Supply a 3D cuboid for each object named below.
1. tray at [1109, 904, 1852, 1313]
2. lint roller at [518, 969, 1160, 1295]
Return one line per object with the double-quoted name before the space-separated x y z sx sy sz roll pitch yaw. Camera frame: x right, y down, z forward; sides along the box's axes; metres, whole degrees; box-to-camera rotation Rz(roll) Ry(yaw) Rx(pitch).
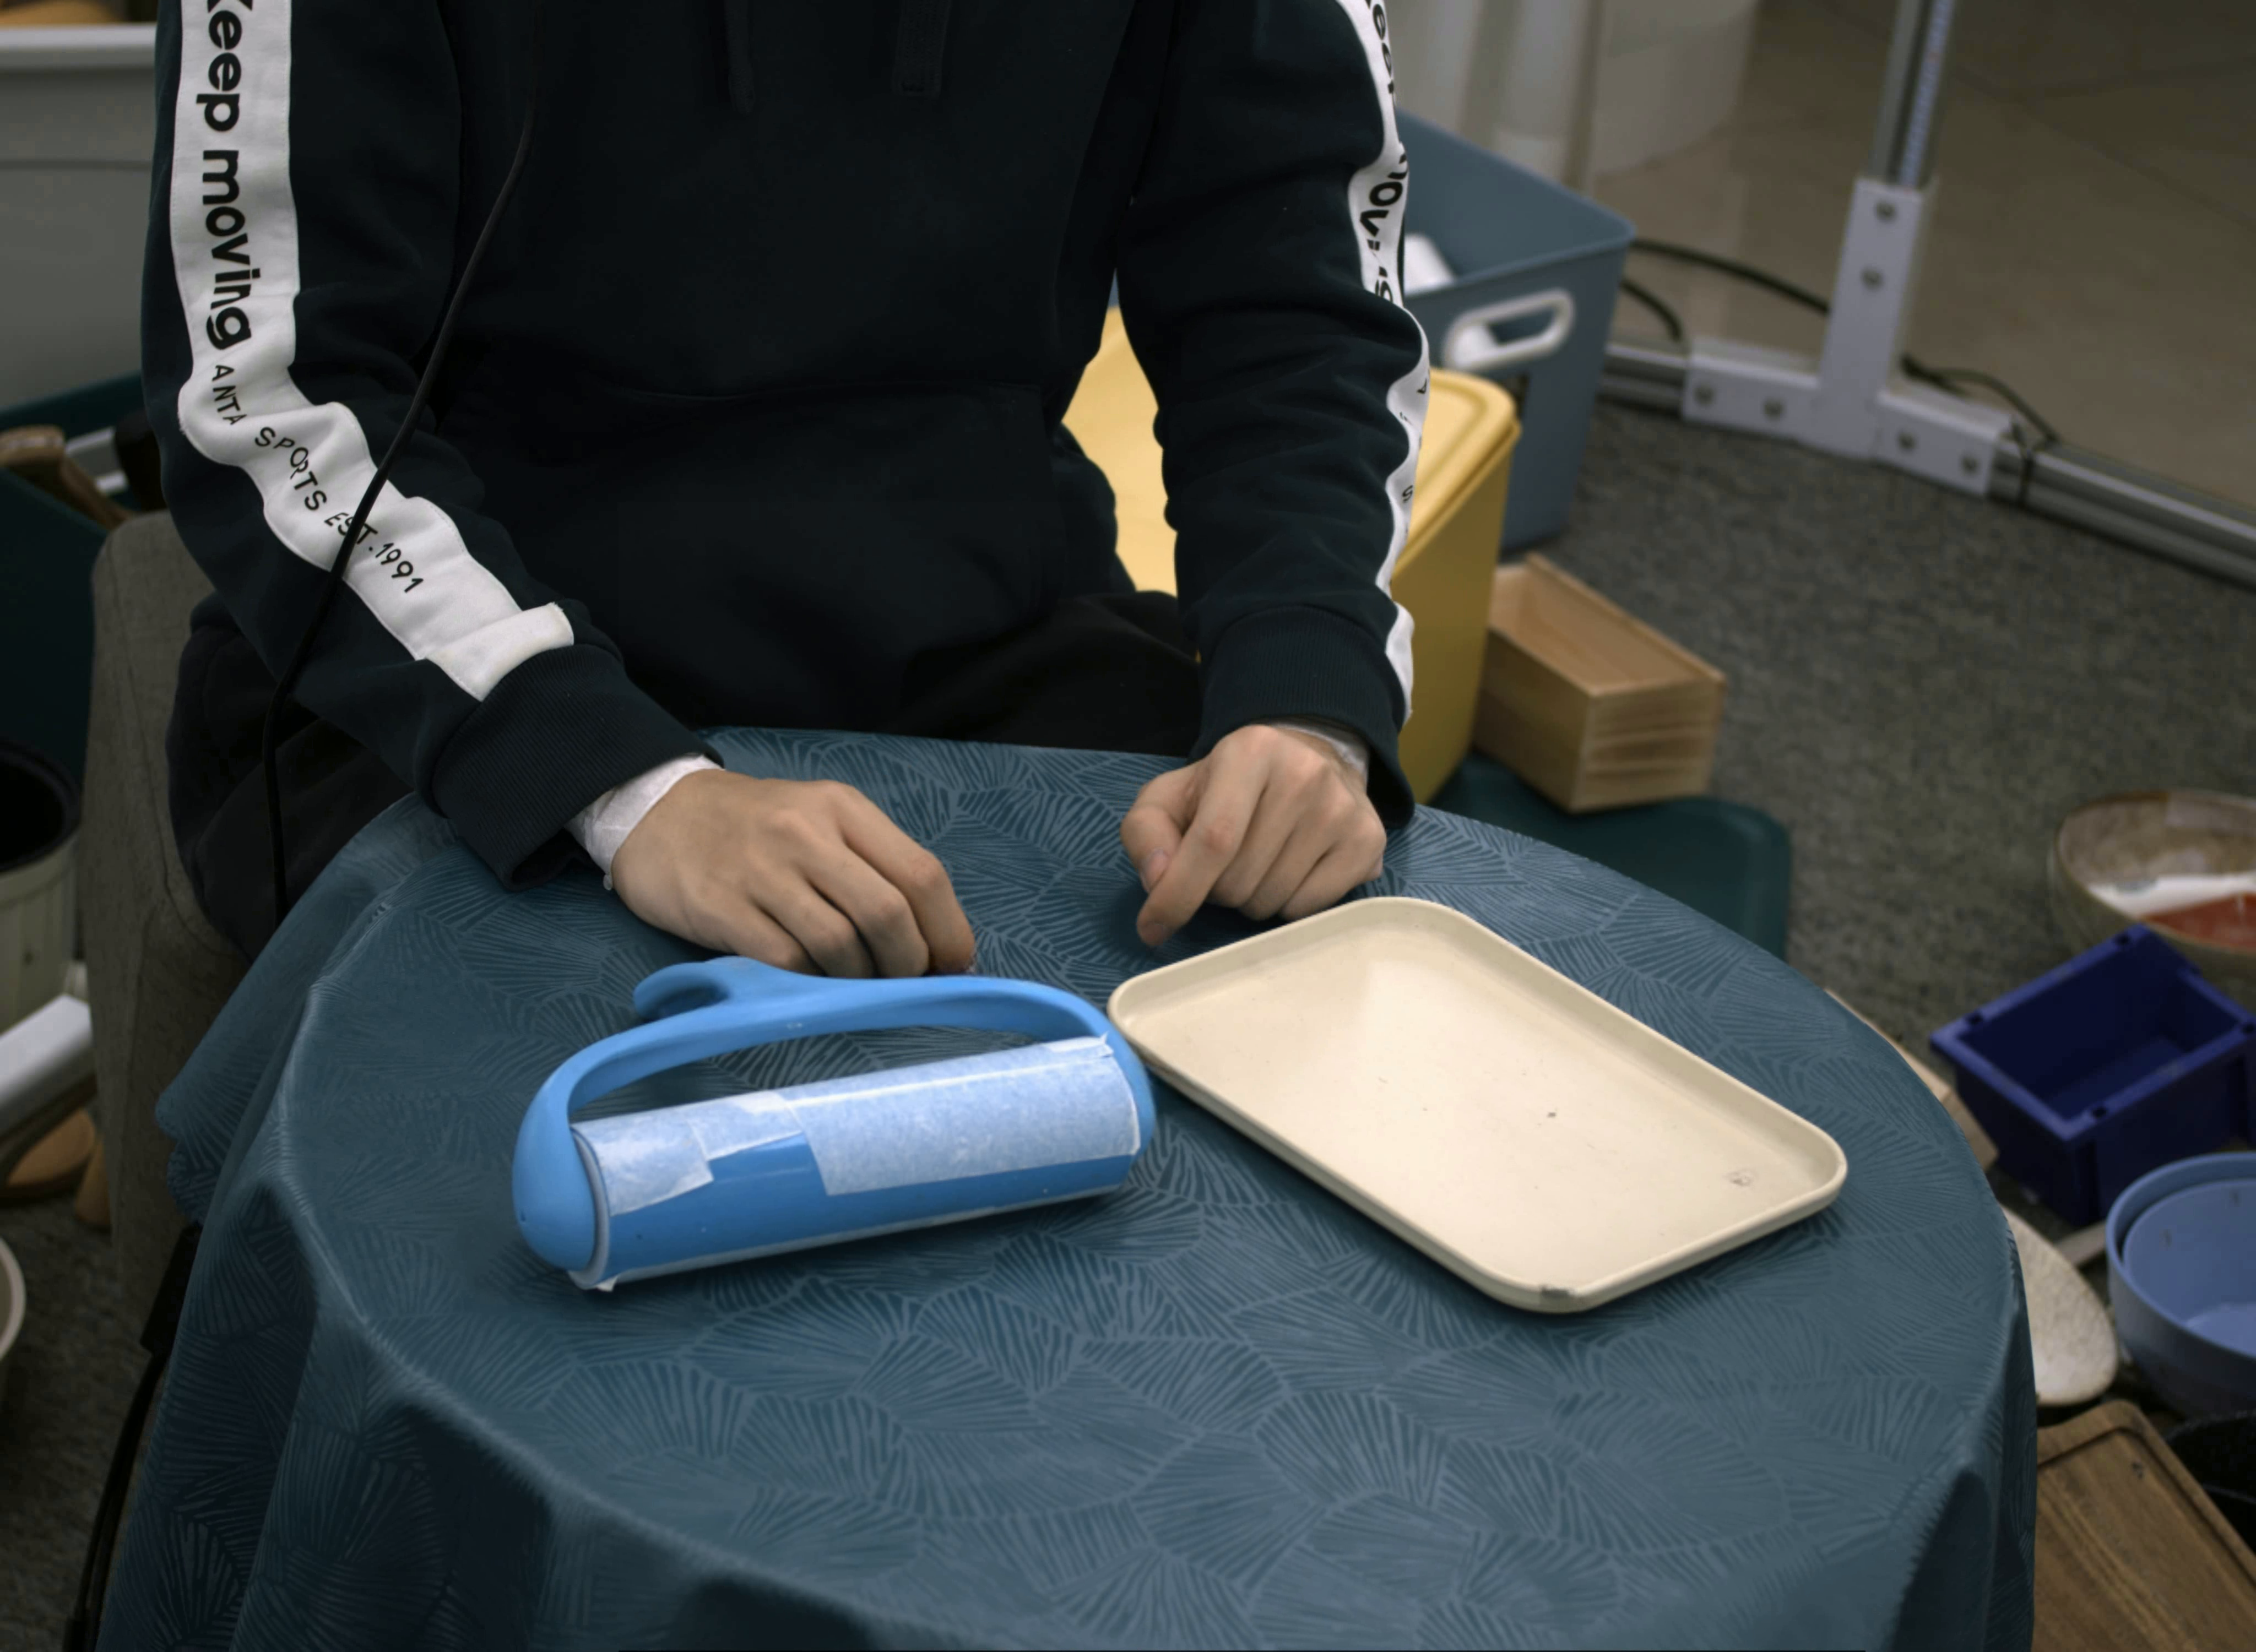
"tray" 0.121 0.097 1.858 0.170 0.017 0.241 -16 34 -39
"lint roller" -0.122 0.083 1.789 0.227 0.067 0.182 -11 32 -29
